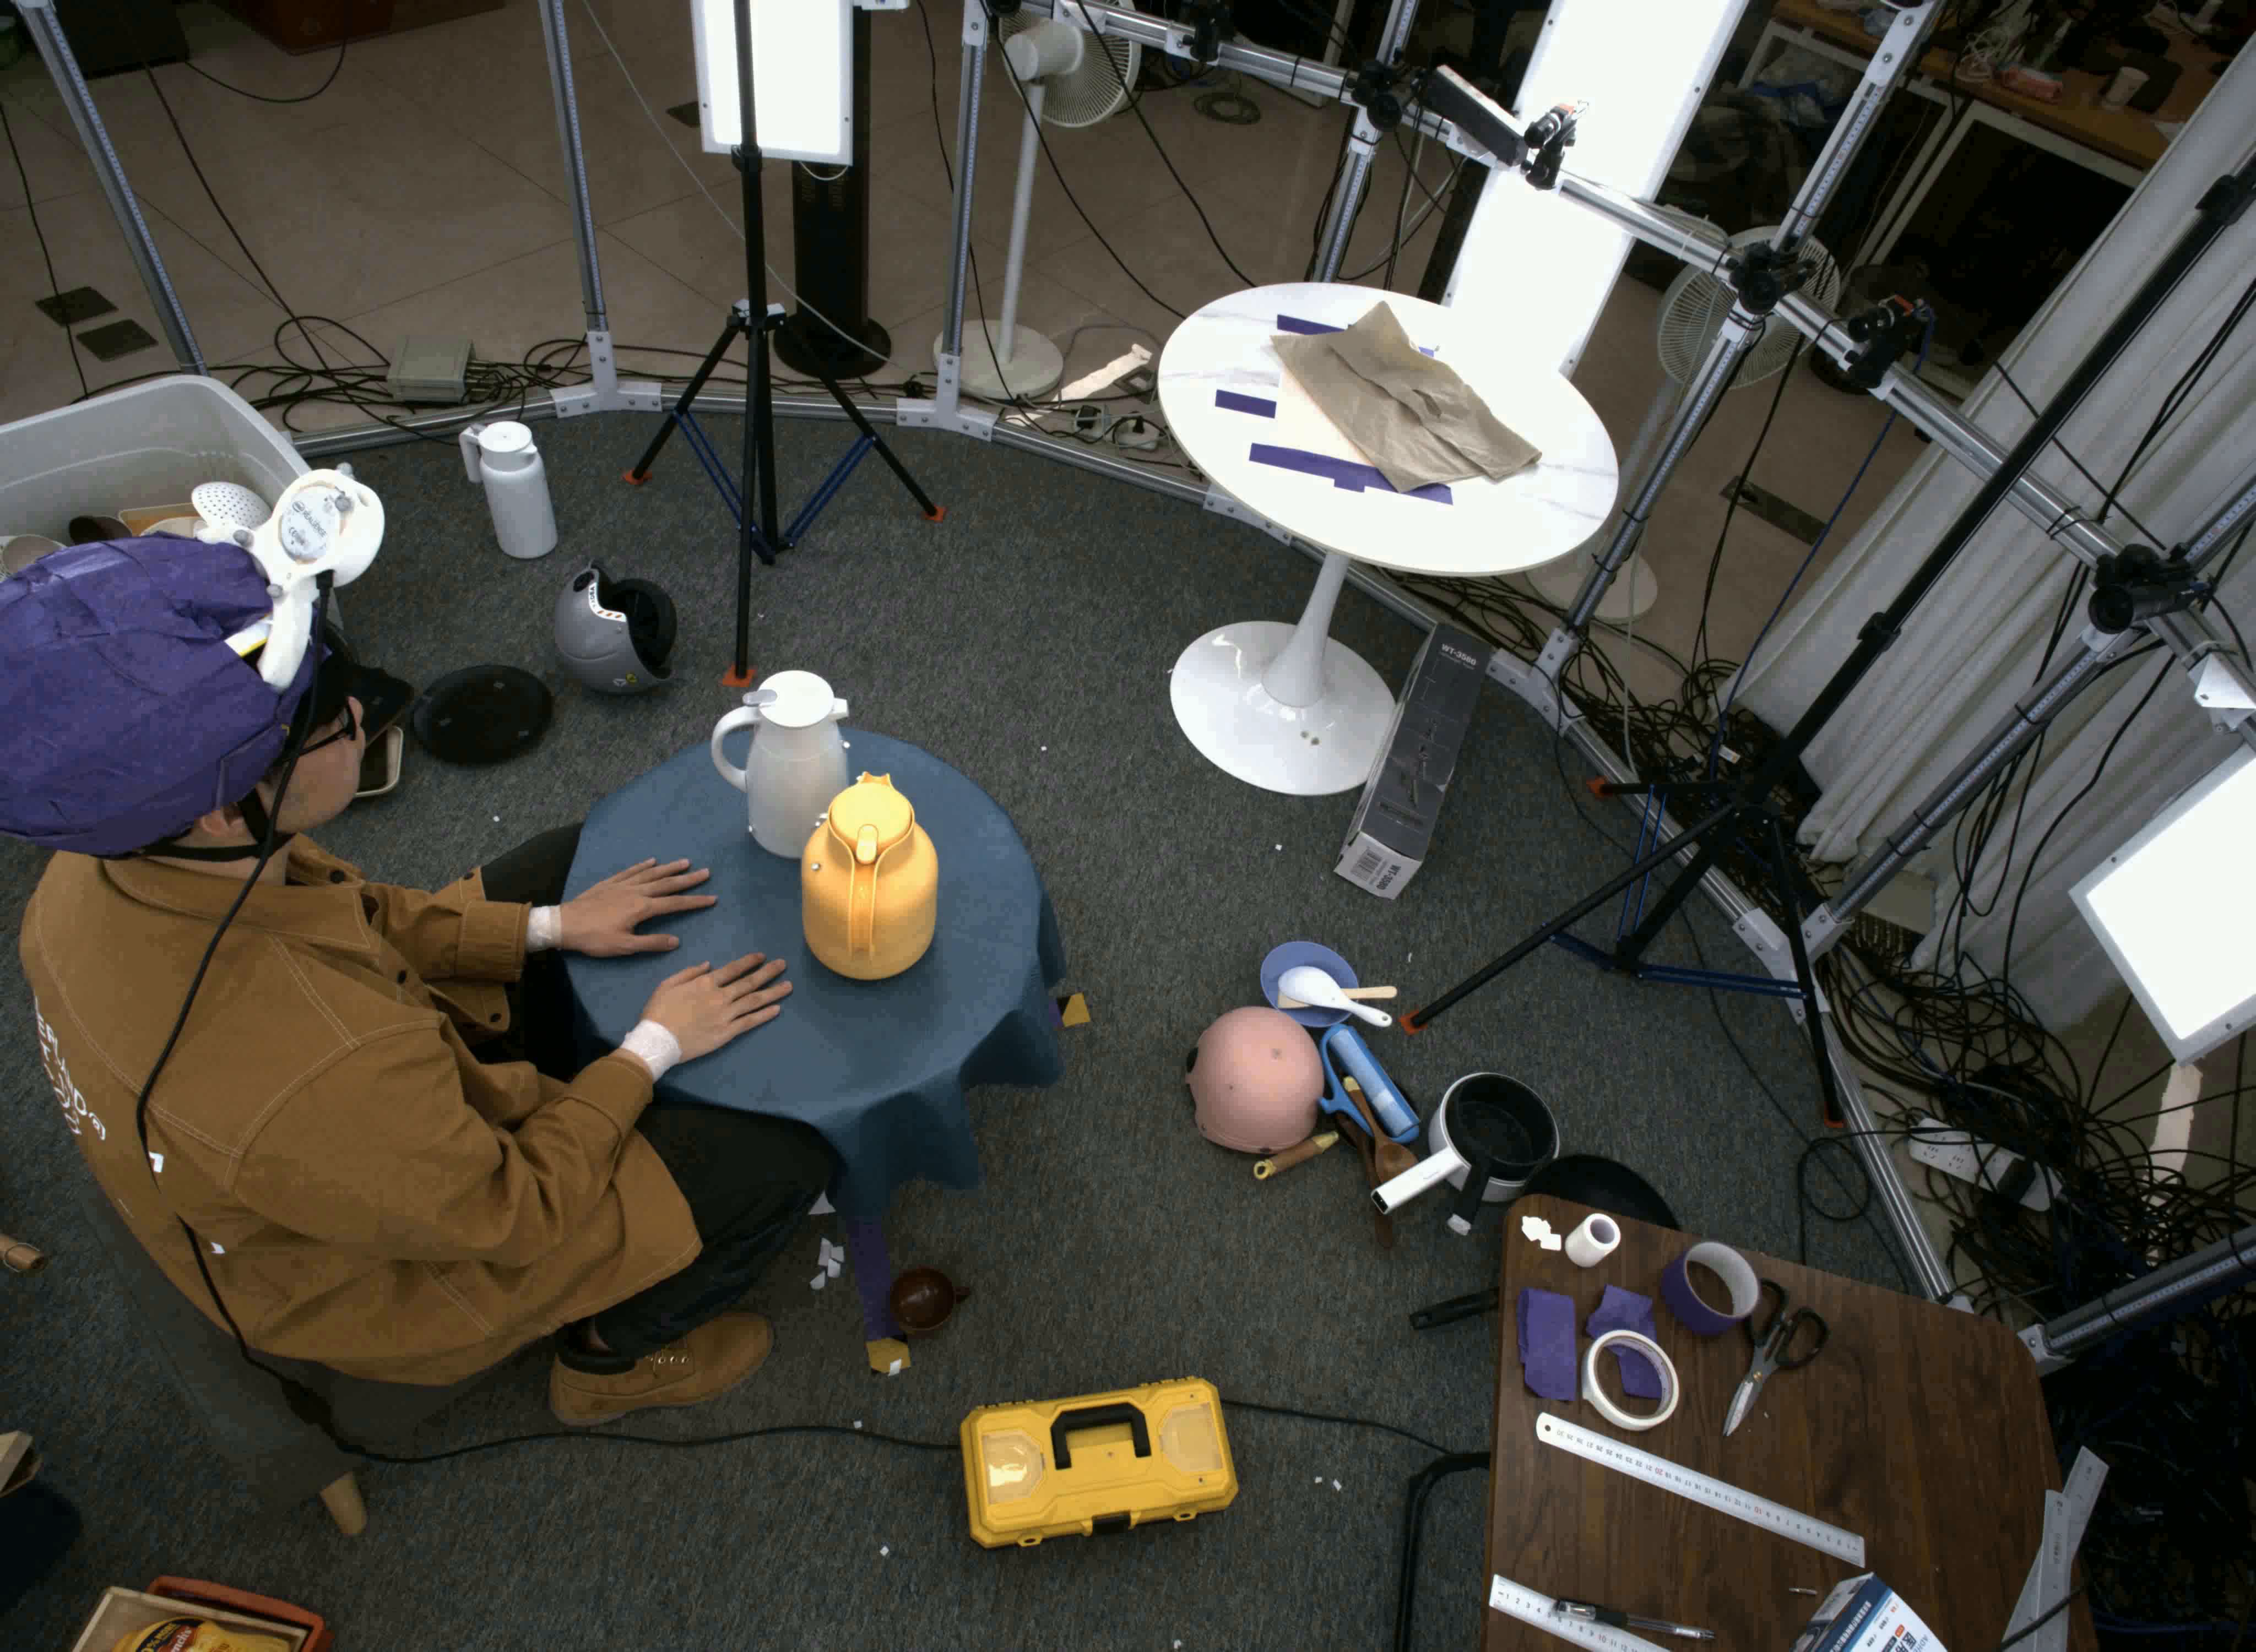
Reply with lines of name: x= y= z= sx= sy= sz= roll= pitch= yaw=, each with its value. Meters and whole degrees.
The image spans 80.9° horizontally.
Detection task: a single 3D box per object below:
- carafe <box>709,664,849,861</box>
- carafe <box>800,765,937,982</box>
carafe: x=-0.436 y=-0.084 z=1.620 sx=0.168 sy=0.254 sz=0.129 roll=-4 pitch=53 yaw=-14
carafe: x=-0.309 y=0.070 z=1.531 sx=0.163 sy=0.267 sz=0.198 roll=5 pitch=51 yaw=-6
